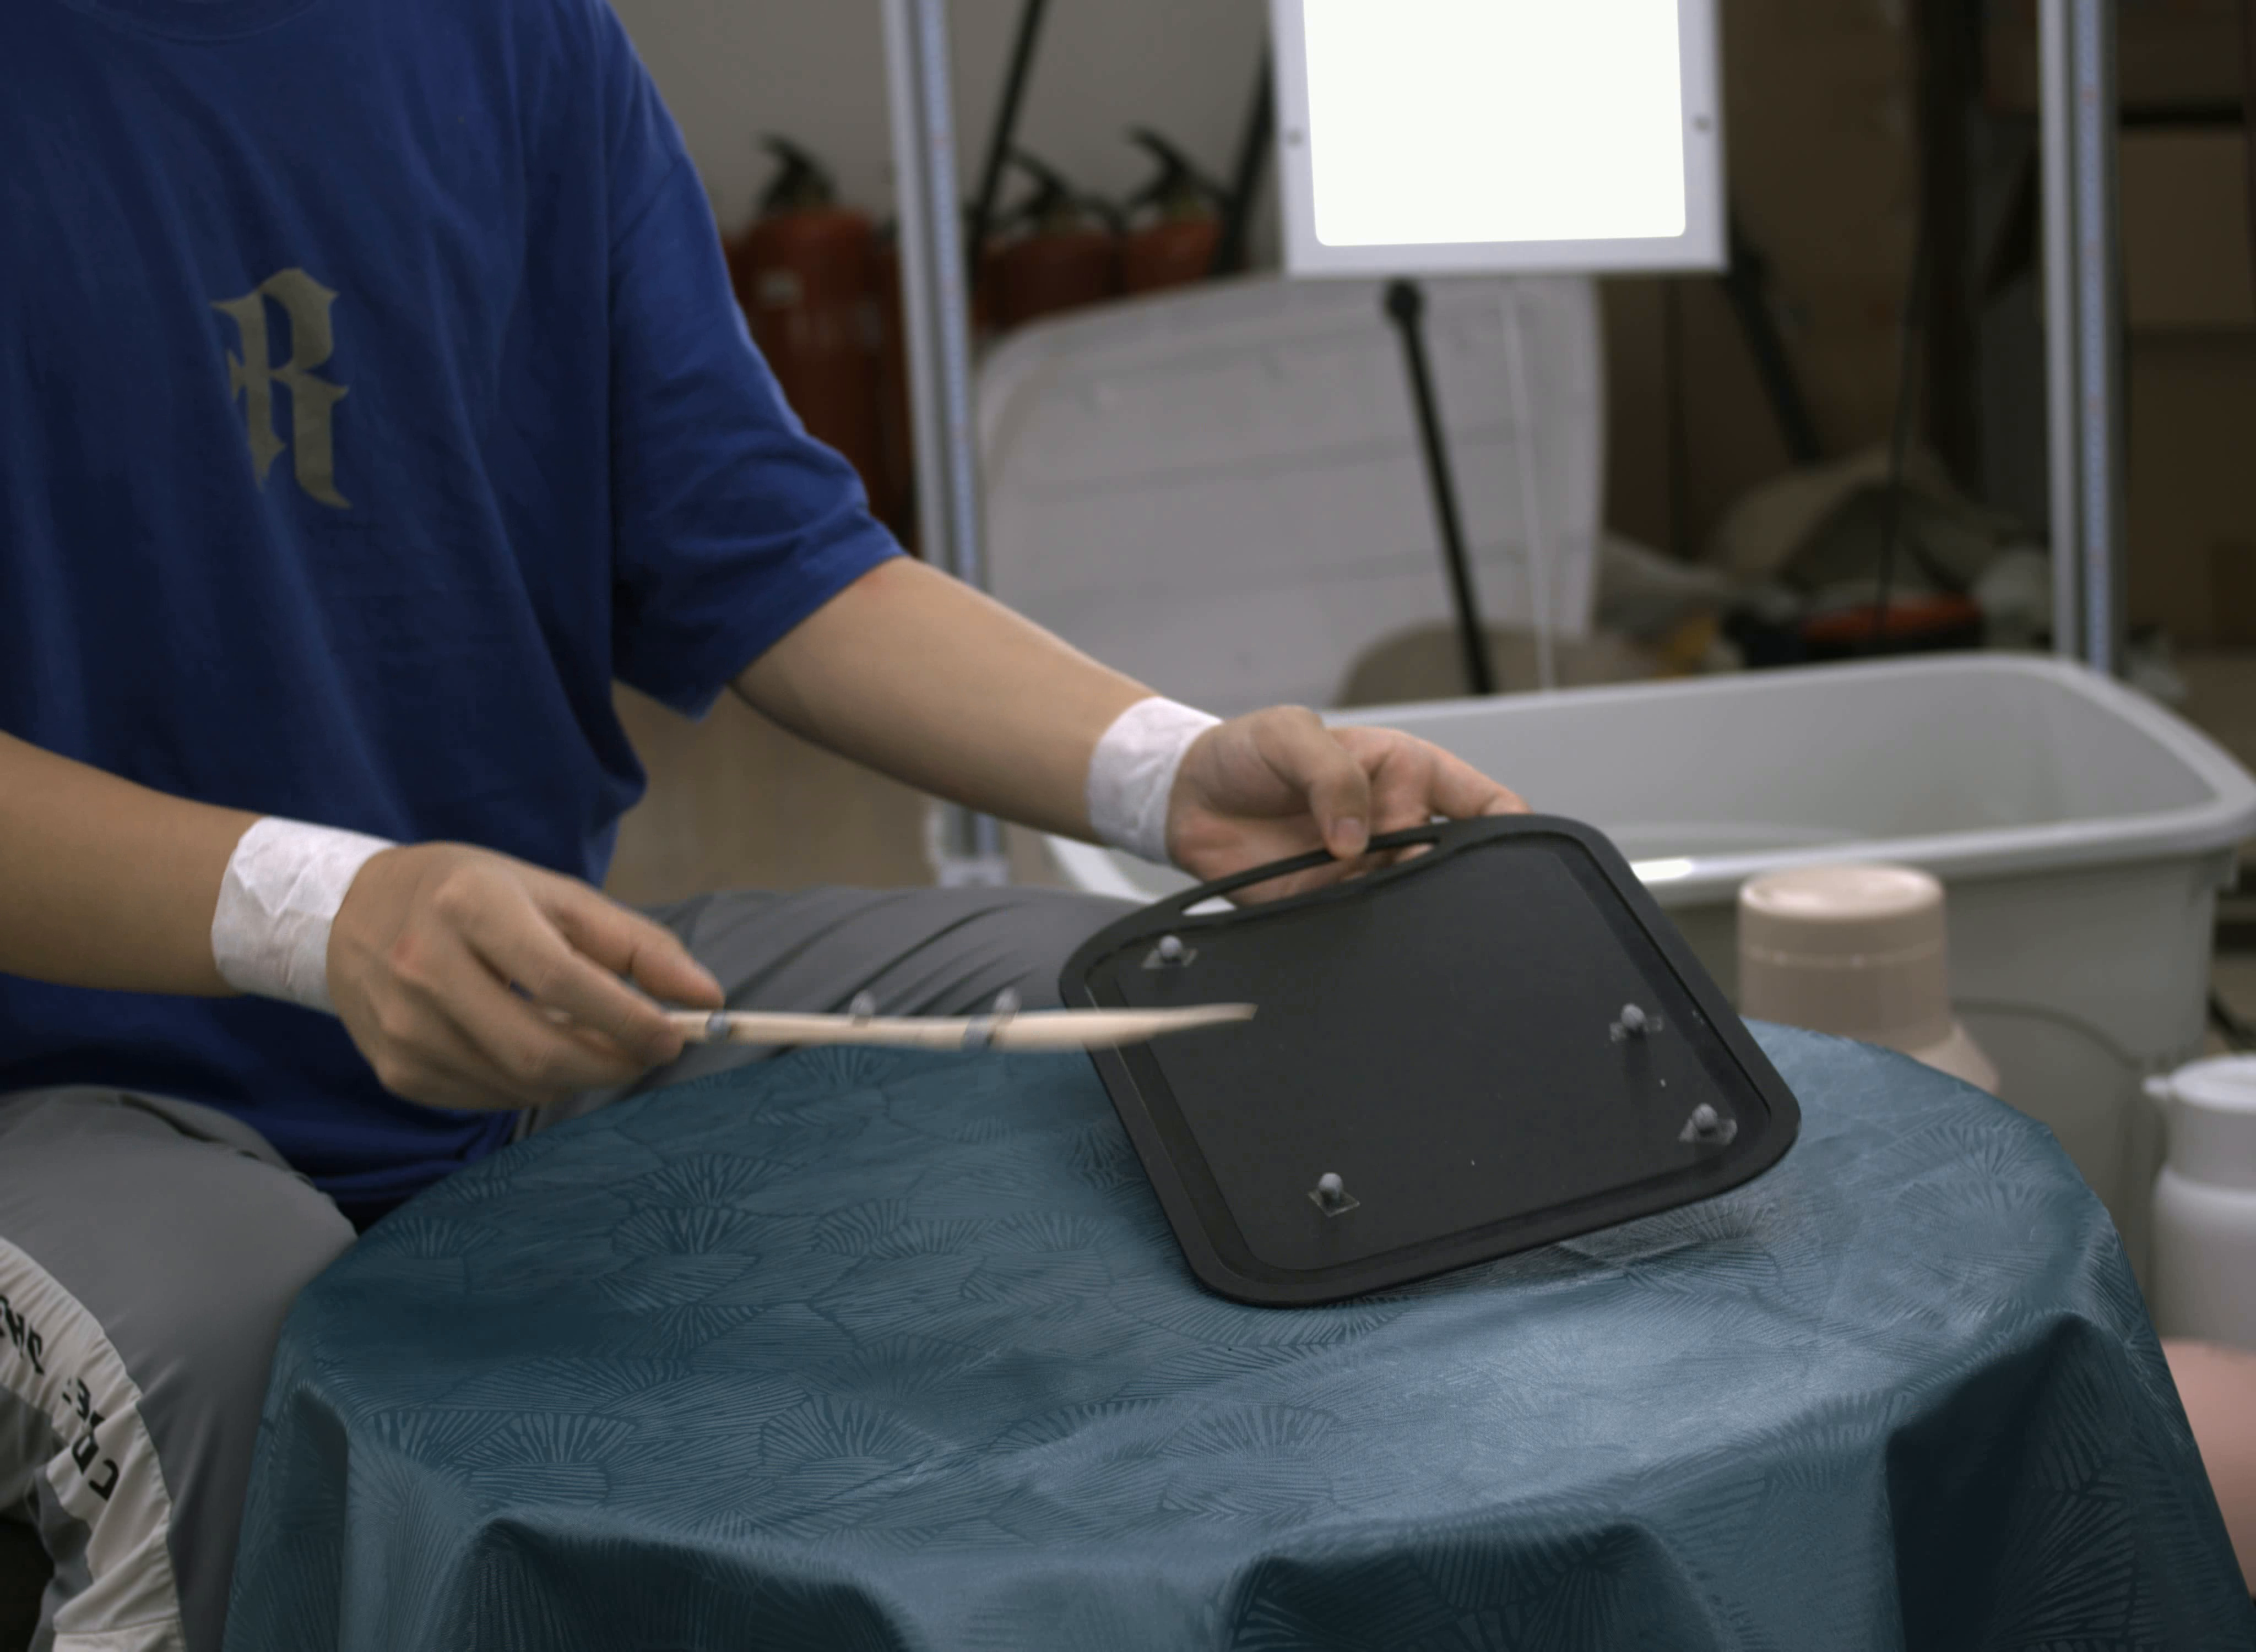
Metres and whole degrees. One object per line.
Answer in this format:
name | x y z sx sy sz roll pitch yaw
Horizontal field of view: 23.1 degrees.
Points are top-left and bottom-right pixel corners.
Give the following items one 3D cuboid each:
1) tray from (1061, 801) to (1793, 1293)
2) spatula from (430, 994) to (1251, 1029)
tray | 0.094 0.067 1.908 0.210 0.010 0.327 -16 26 -4
spatula | -0.103 0.060 1.785 0.298 0.011 0.070 -1 1 30
